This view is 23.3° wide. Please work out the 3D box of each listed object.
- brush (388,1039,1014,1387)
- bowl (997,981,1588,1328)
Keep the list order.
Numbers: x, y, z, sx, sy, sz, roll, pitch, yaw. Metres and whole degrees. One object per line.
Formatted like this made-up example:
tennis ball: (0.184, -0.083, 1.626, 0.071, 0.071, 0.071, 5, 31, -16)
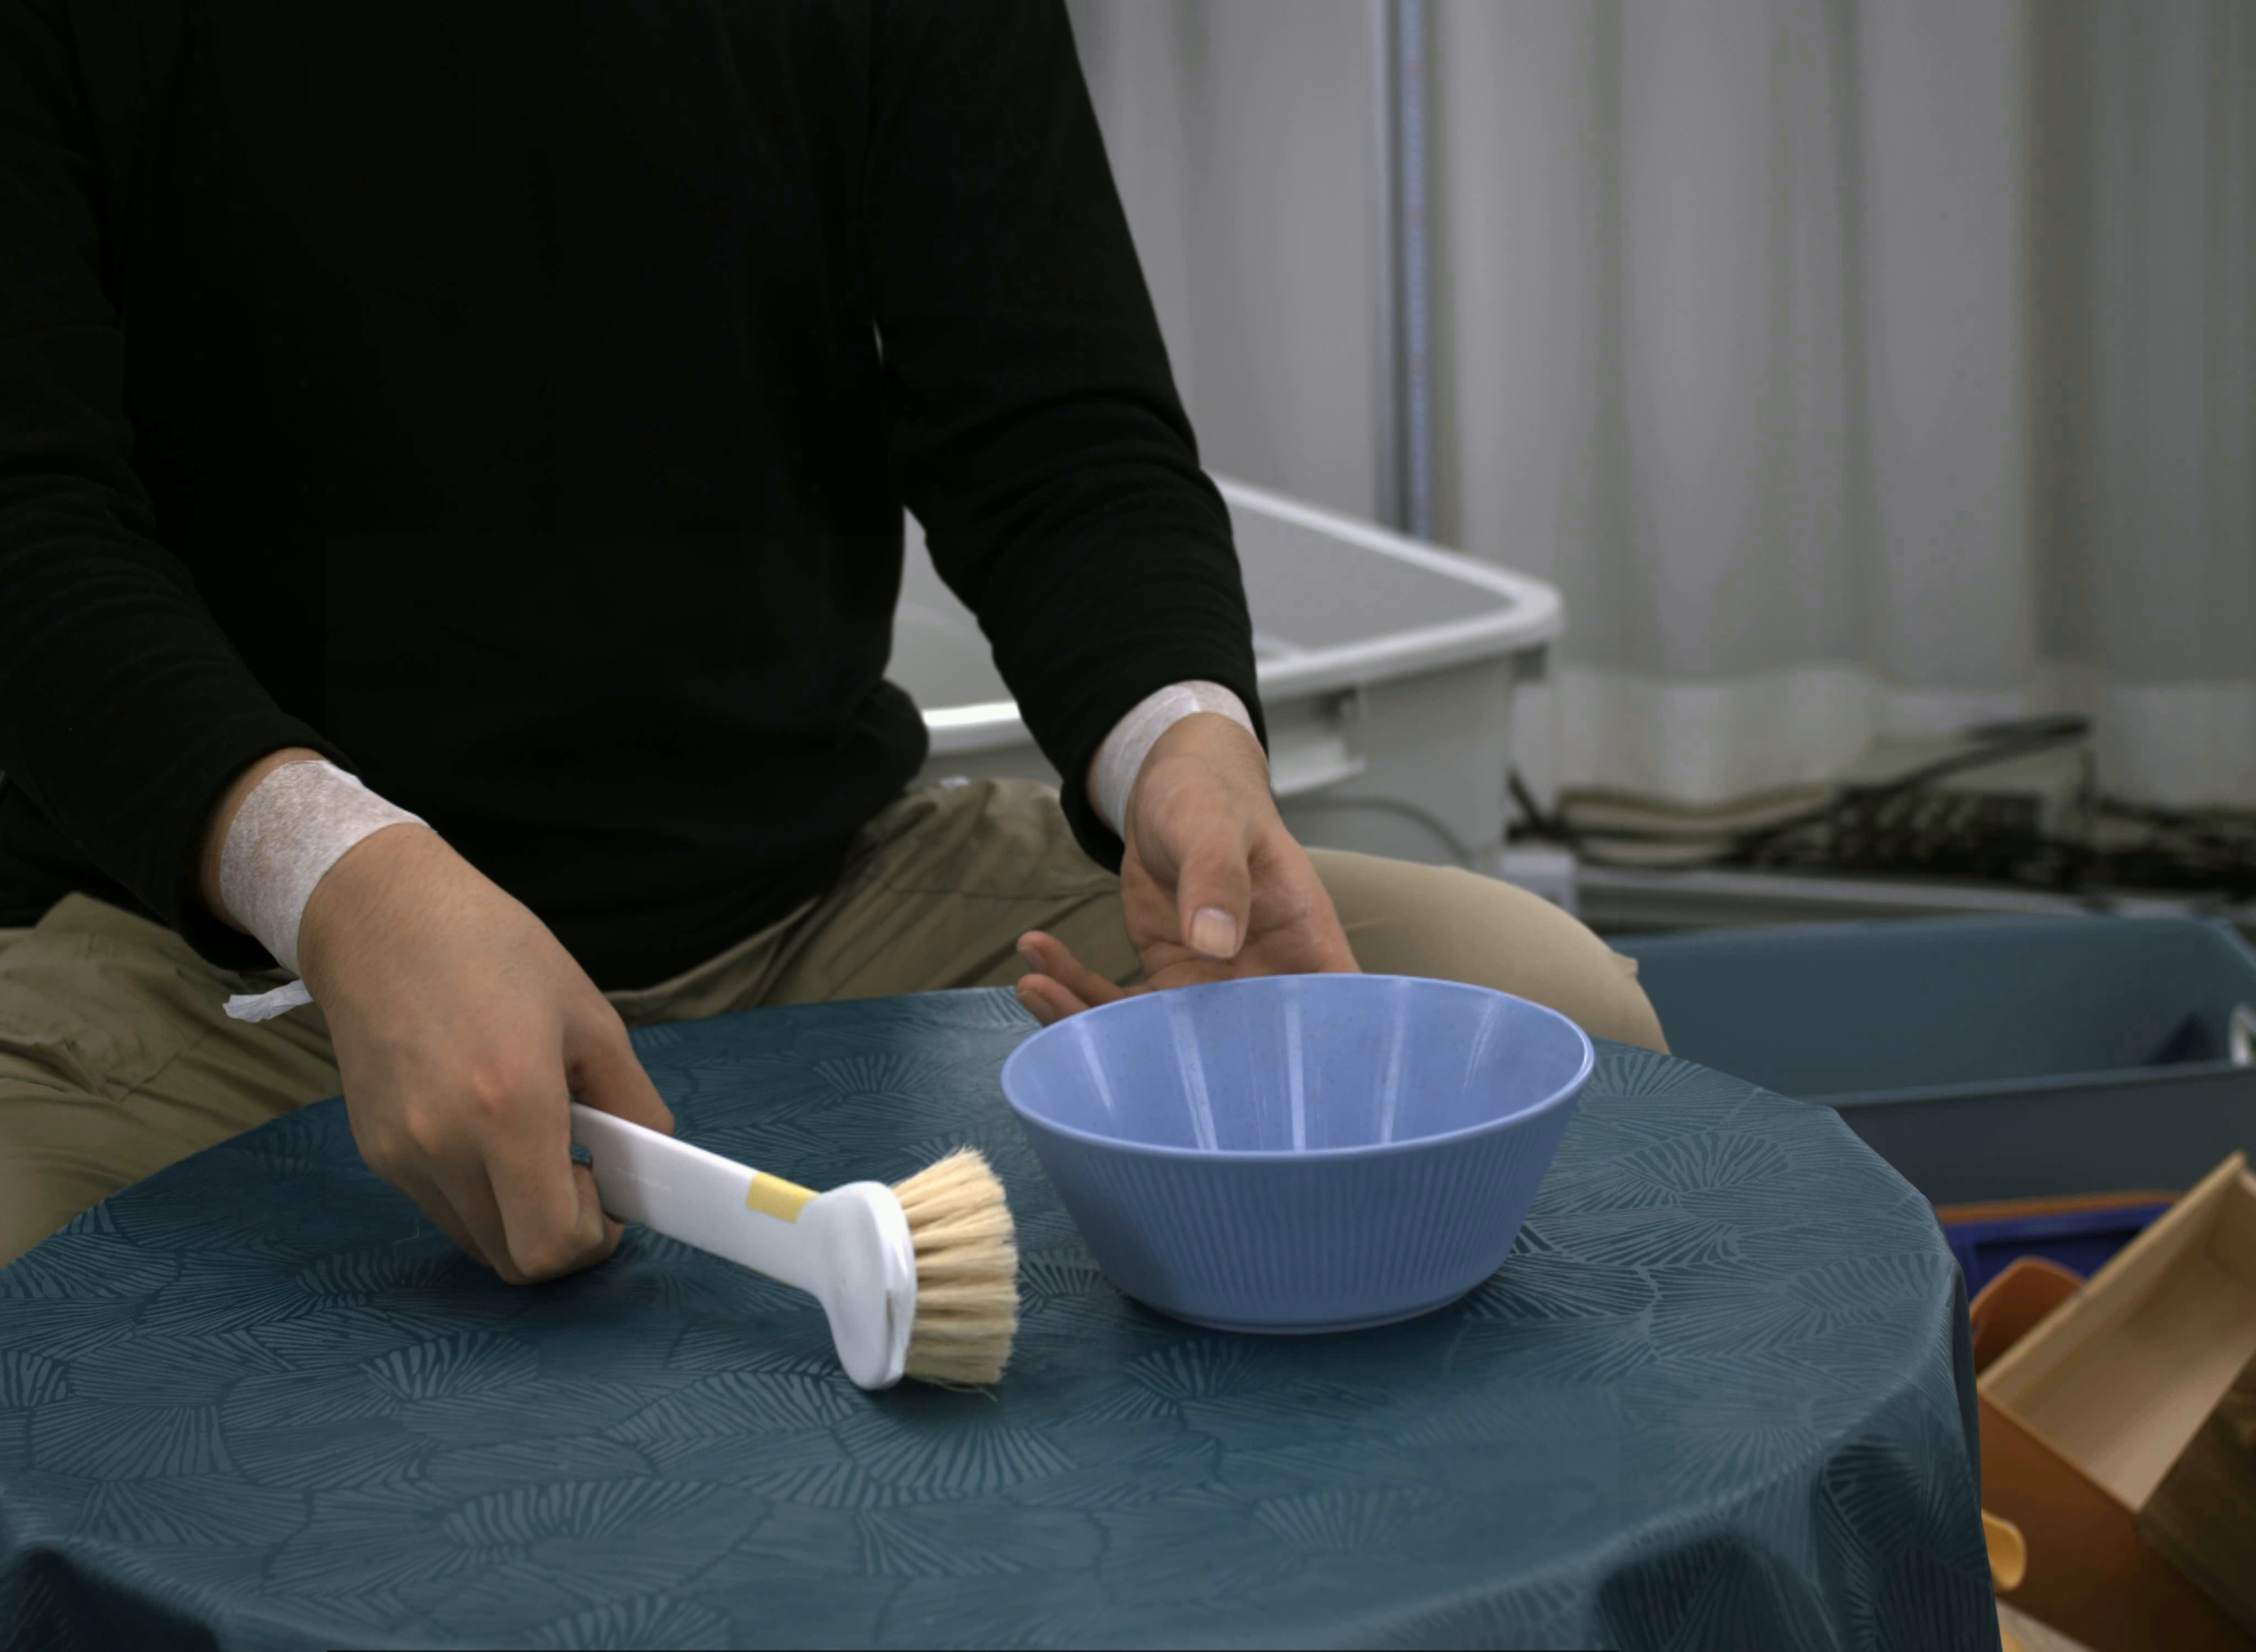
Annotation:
brush: (-0.125, 0.104, 1.629, 0.056, 0.068, 0.268, 1, 11, -42)
bowl: (0.050, 0.100, 1.622, 0.175, 0.070, 0.177, -3, 14, 0)
